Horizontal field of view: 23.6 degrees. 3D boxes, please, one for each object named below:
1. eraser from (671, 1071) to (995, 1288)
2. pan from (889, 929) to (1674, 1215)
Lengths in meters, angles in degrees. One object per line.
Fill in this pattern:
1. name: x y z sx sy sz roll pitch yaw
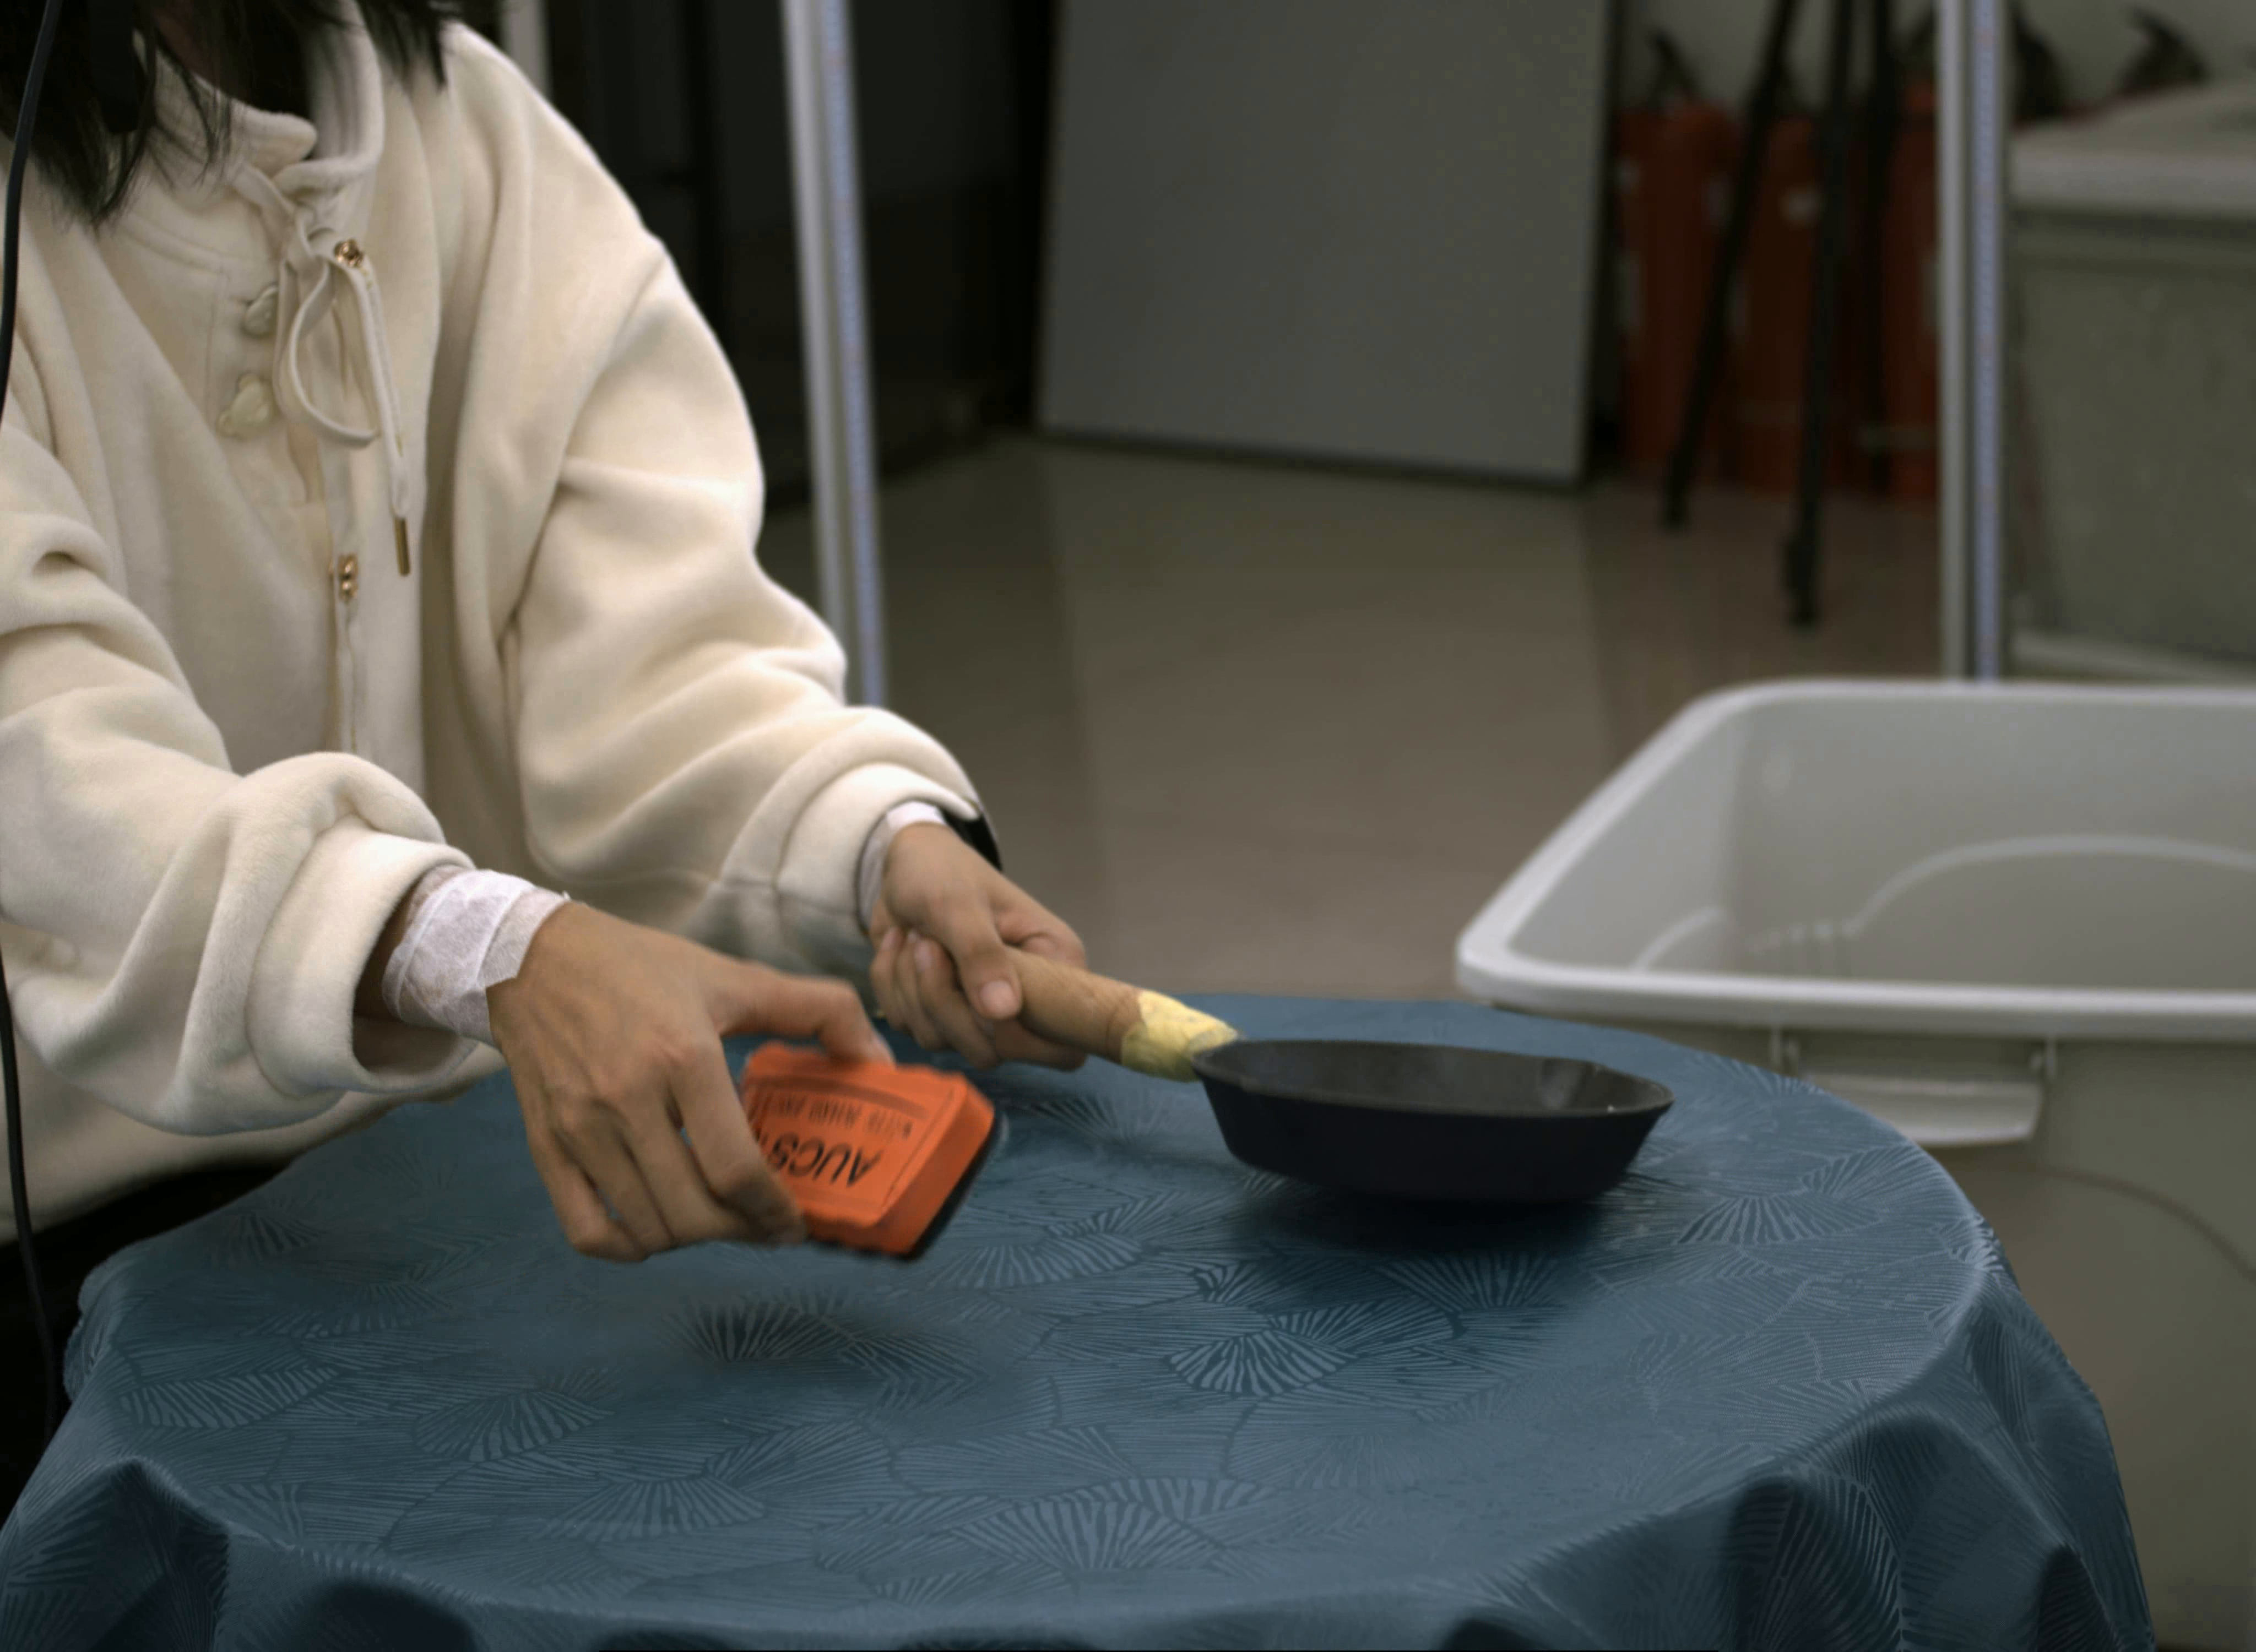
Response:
1. eraser: -0.090 0.107 1.649 0.109 0.022 0.059 4 53 50
2. pan: 0.037 0.080 1.786 0.165 0.050 0.327 -4 10 -45
